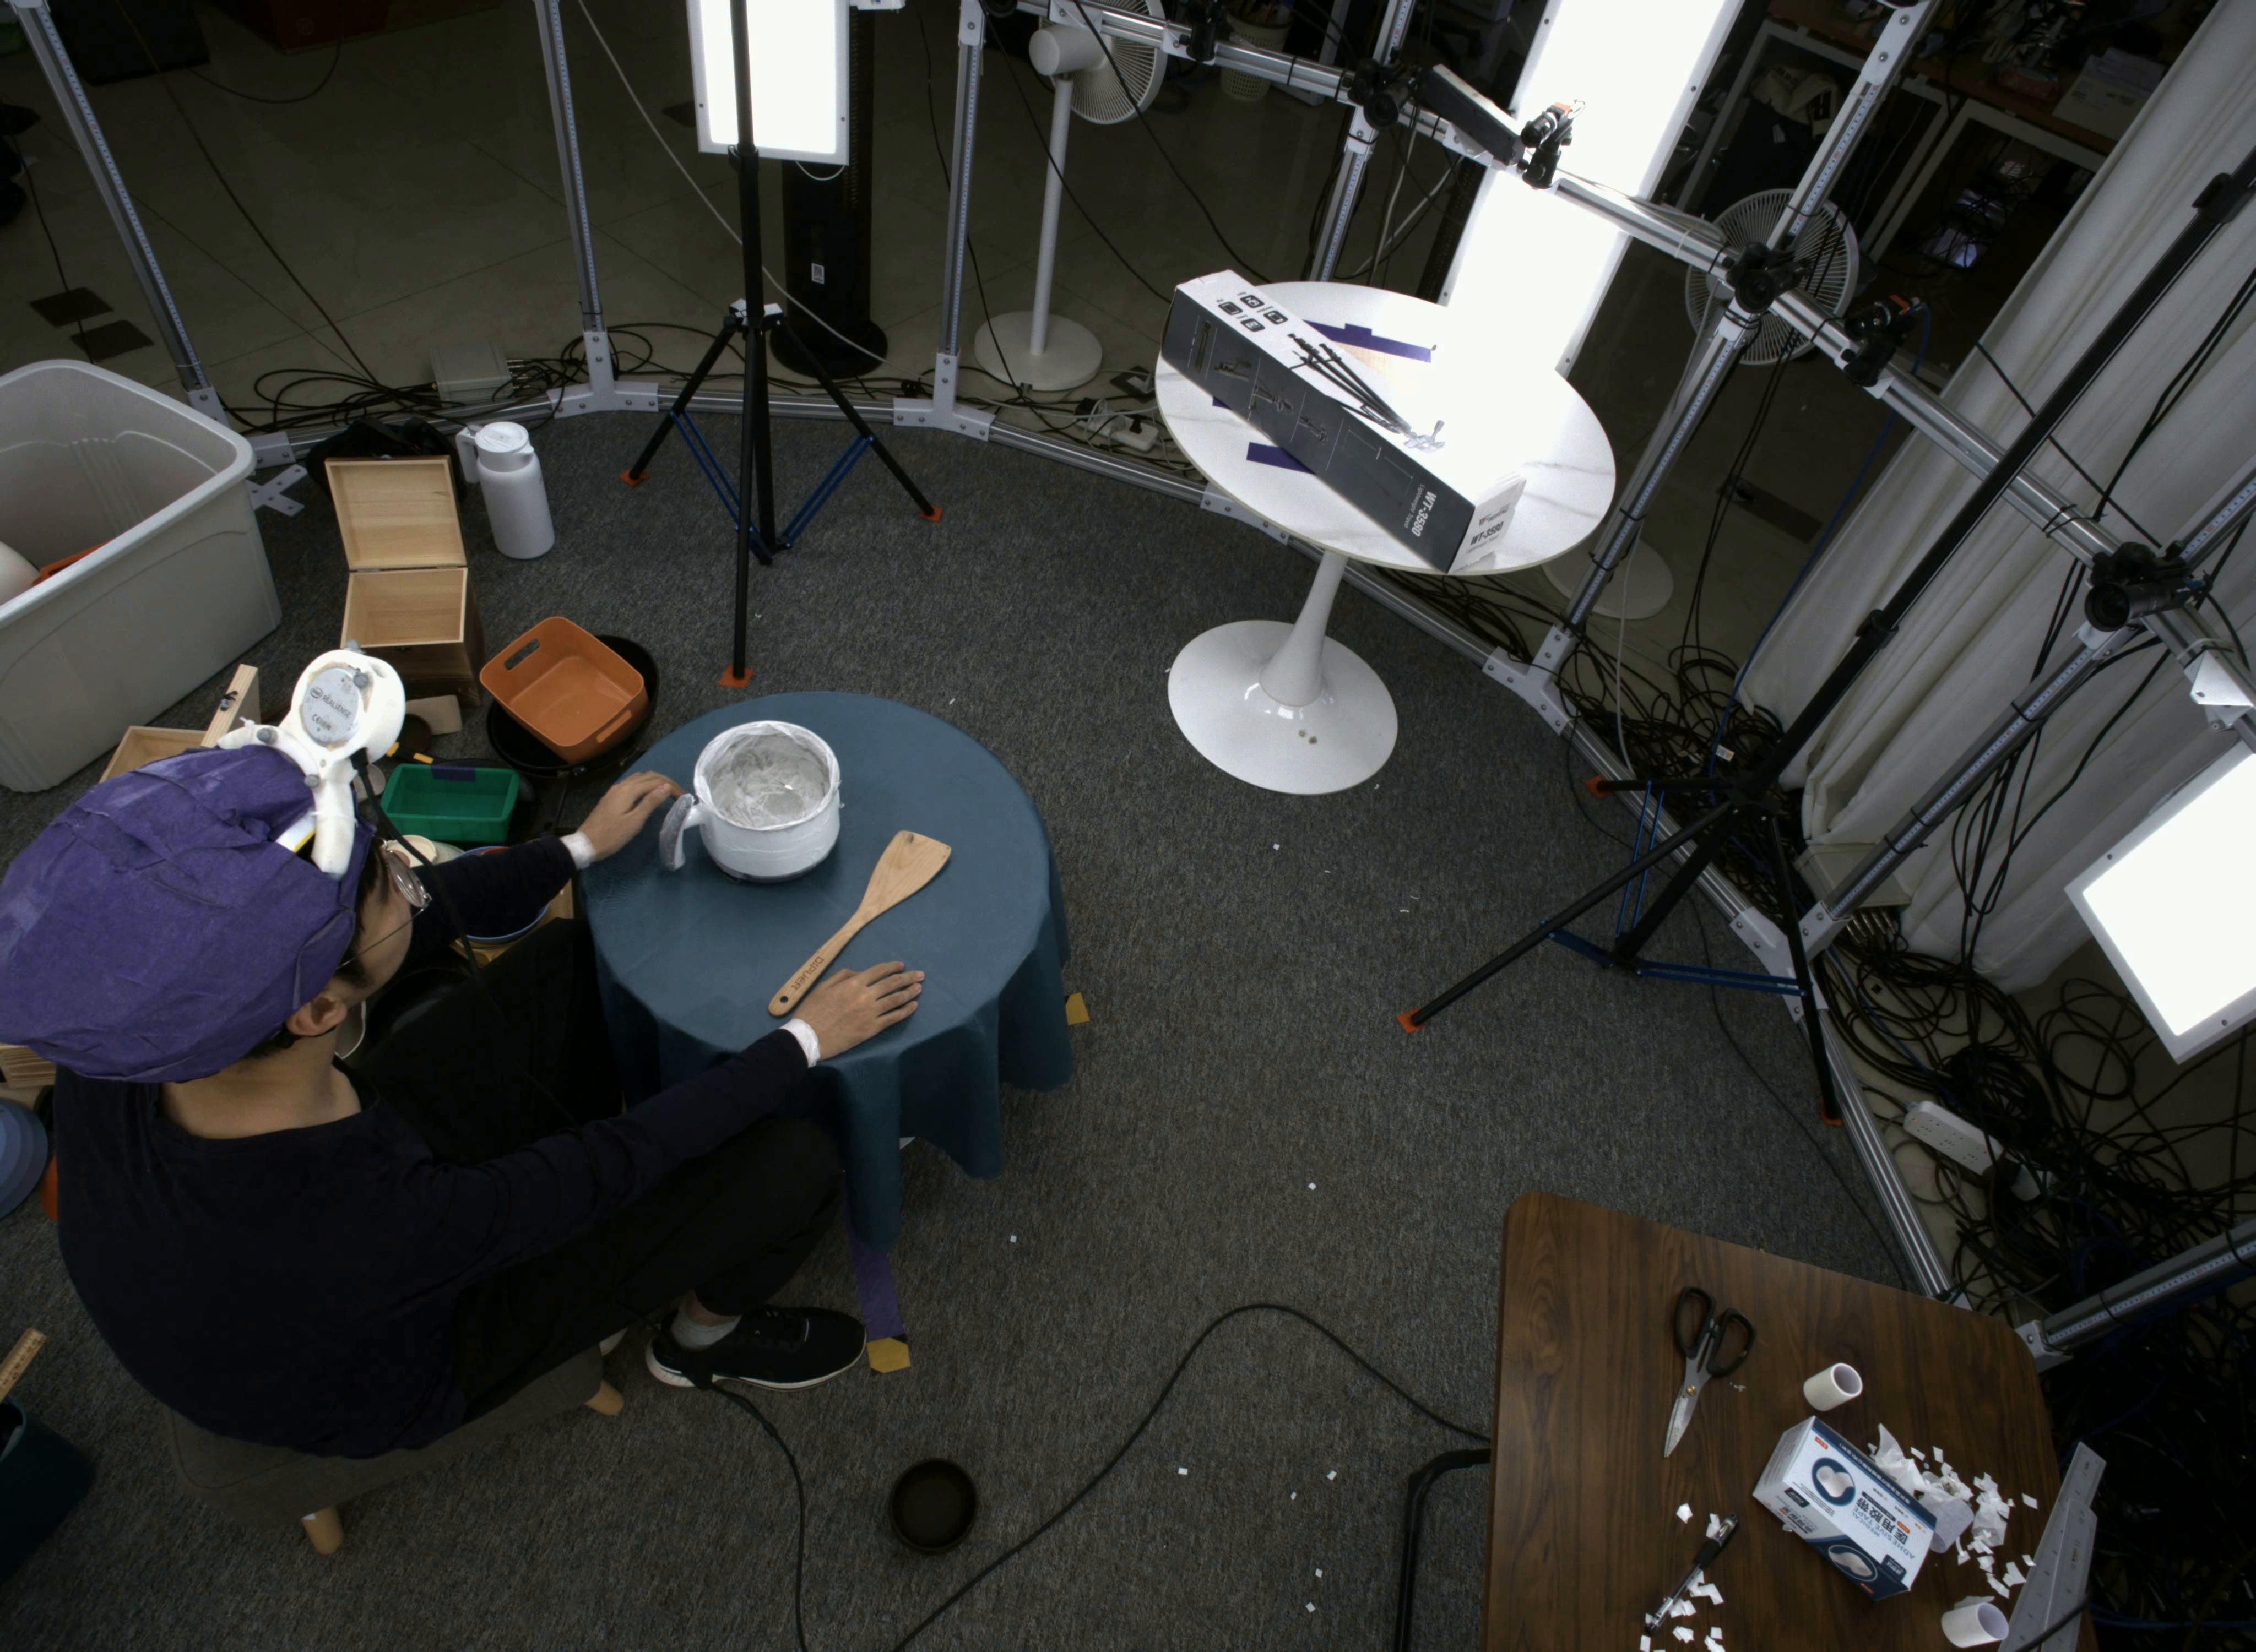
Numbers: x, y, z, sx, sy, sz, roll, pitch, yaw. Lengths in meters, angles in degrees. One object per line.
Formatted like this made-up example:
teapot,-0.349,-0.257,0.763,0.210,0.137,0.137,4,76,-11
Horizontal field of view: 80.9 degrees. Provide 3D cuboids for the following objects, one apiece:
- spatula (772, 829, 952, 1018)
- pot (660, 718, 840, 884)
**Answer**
spatula,-0.346,0.118,1.657,0.078,0.017,0.326,30,53,10
pot,-0.482,-0.020,1.644,0.235,0.139,0.174,-22,60,-28
